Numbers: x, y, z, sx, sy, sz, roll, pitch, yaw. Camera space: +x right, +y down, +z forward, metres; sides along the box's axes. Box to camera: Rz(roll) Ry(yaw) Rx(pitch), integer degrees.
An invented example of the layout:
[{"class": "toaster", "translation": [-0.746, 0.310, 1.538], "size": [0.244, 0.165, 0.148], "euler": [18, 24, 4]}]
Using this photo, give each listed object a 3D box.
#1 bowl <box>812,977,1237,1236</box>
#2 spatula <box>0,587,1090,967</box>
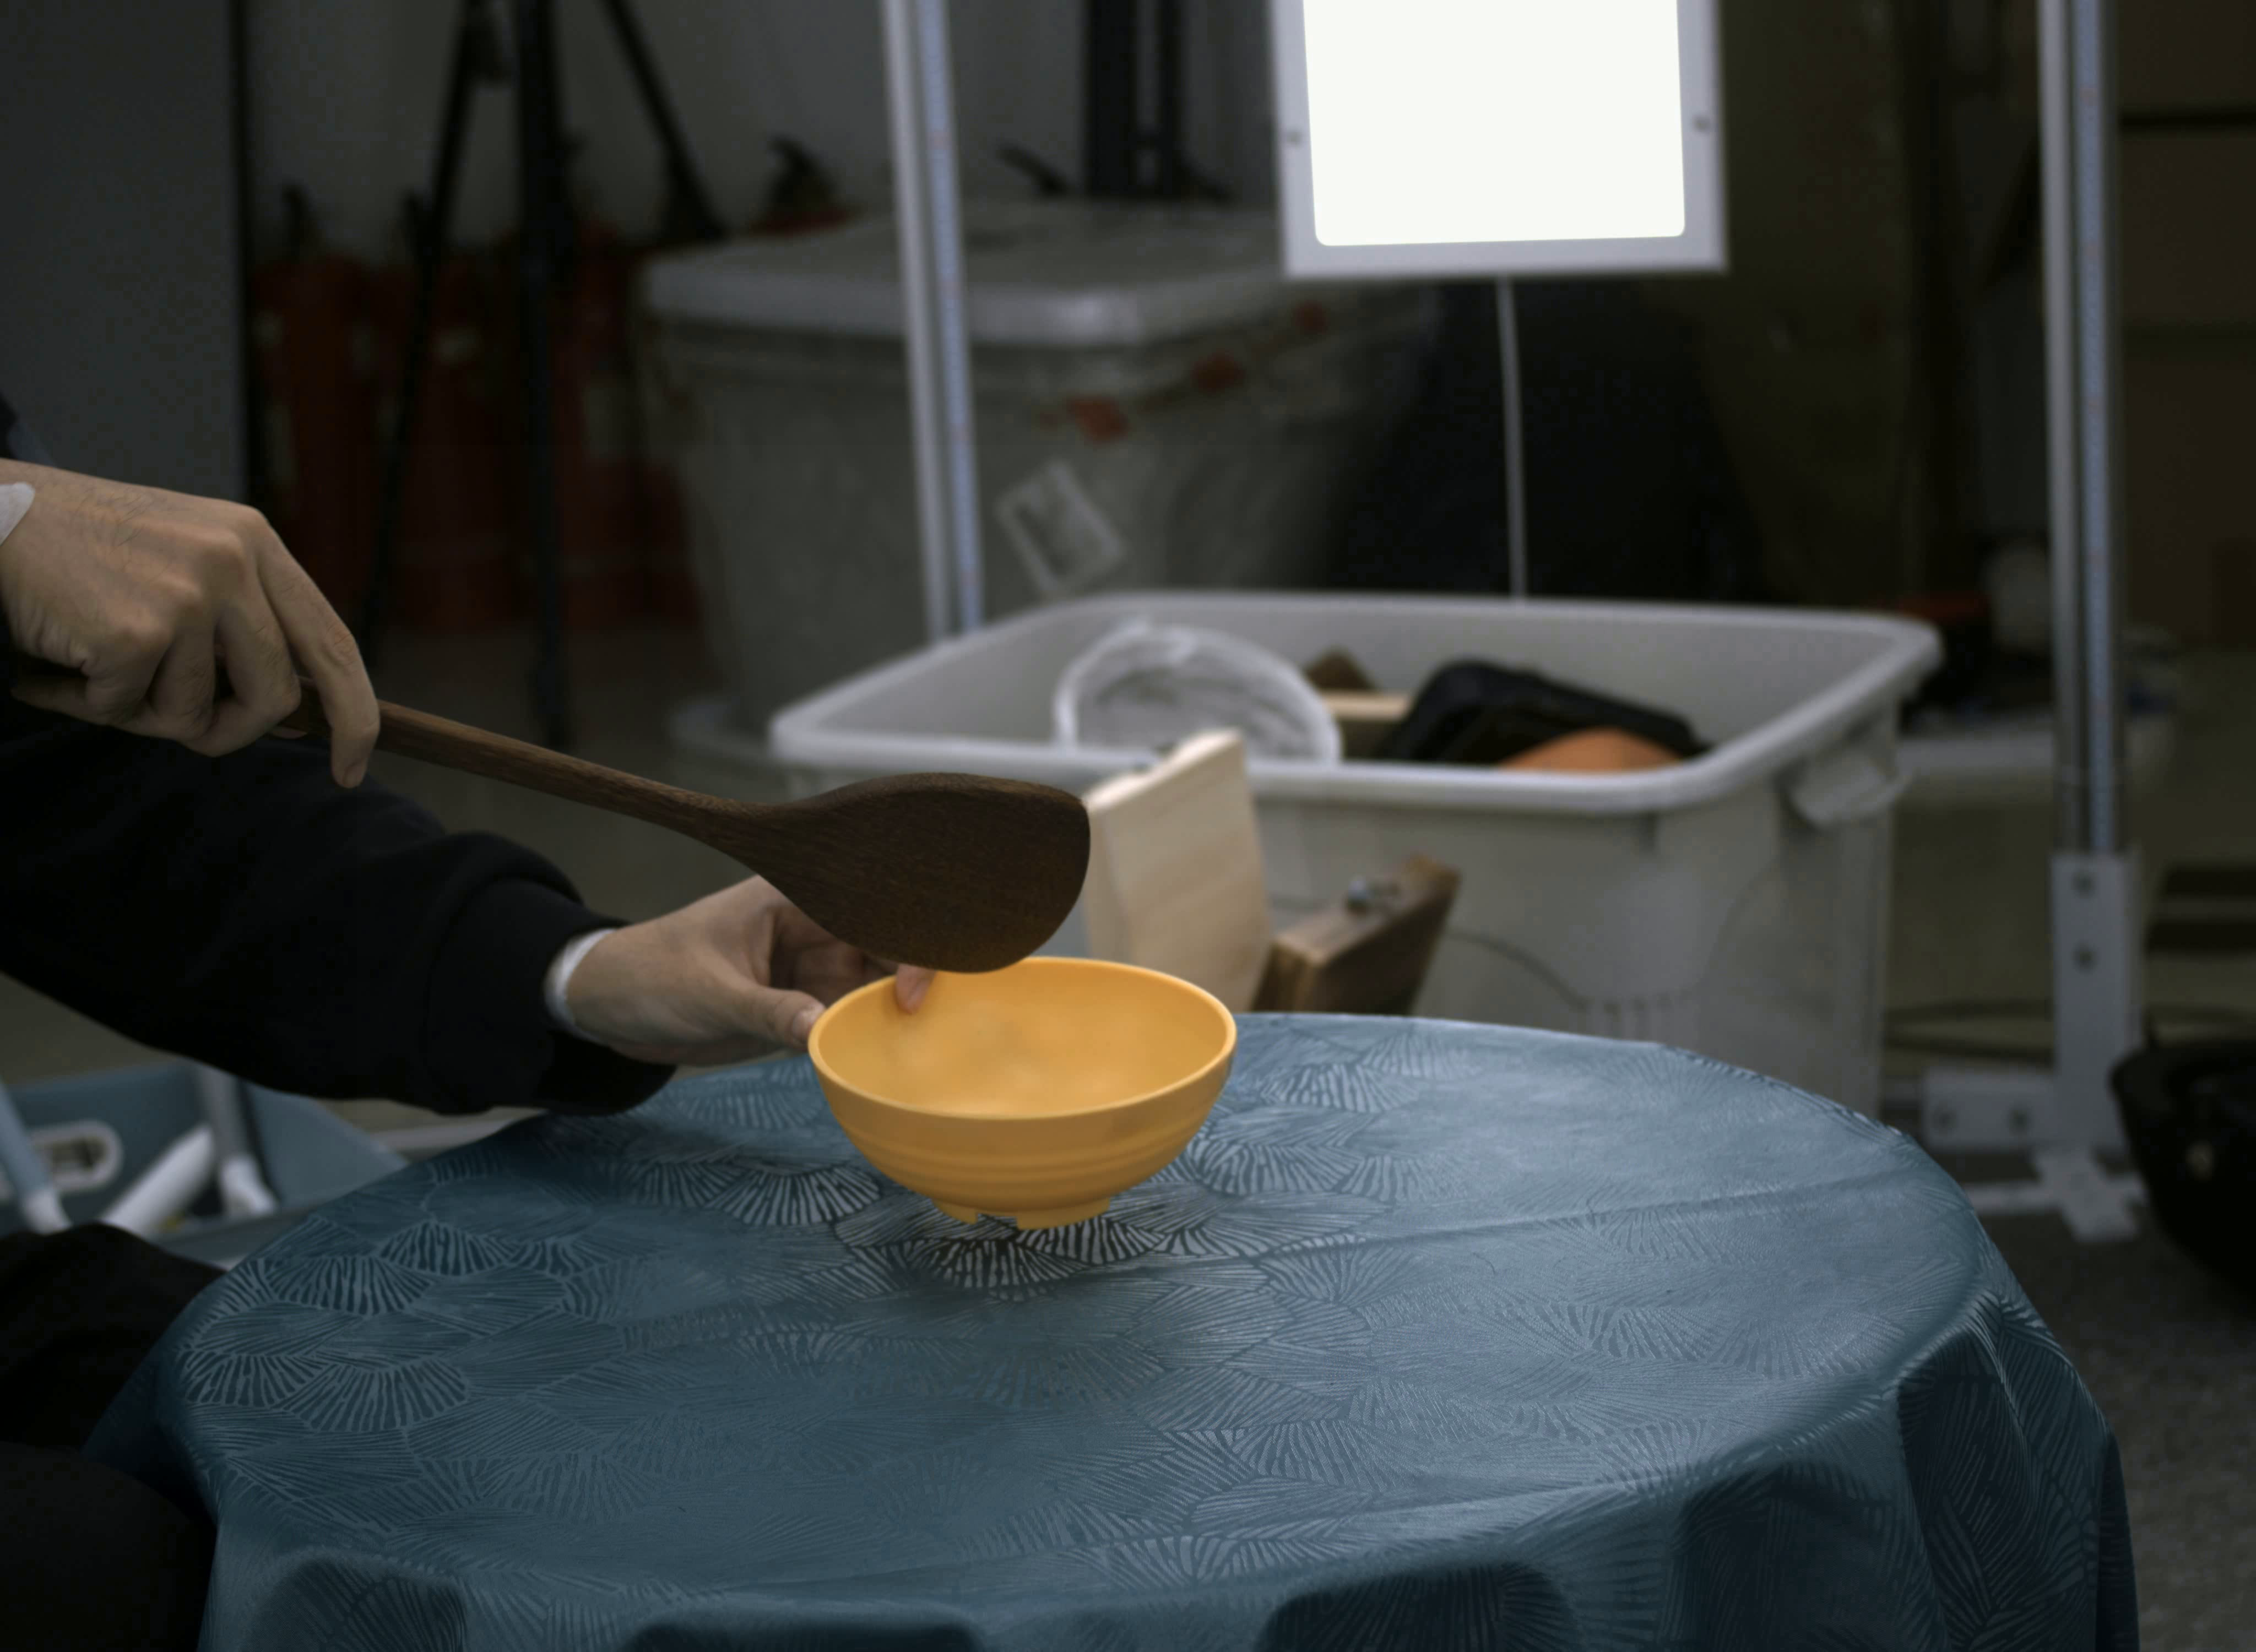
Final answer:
[{"class": "bowl", "translation": [-0.034, 0.100, 1.860], "size": [0.145, 0.060, 0.145], "euler": [-3, 17, -1]}, {"class": "spatula", "translation": [-0.200, -0.023, 1.760], "size": [0.383, 0.097, 0.015], "euler": [15, 48, -7]}]
